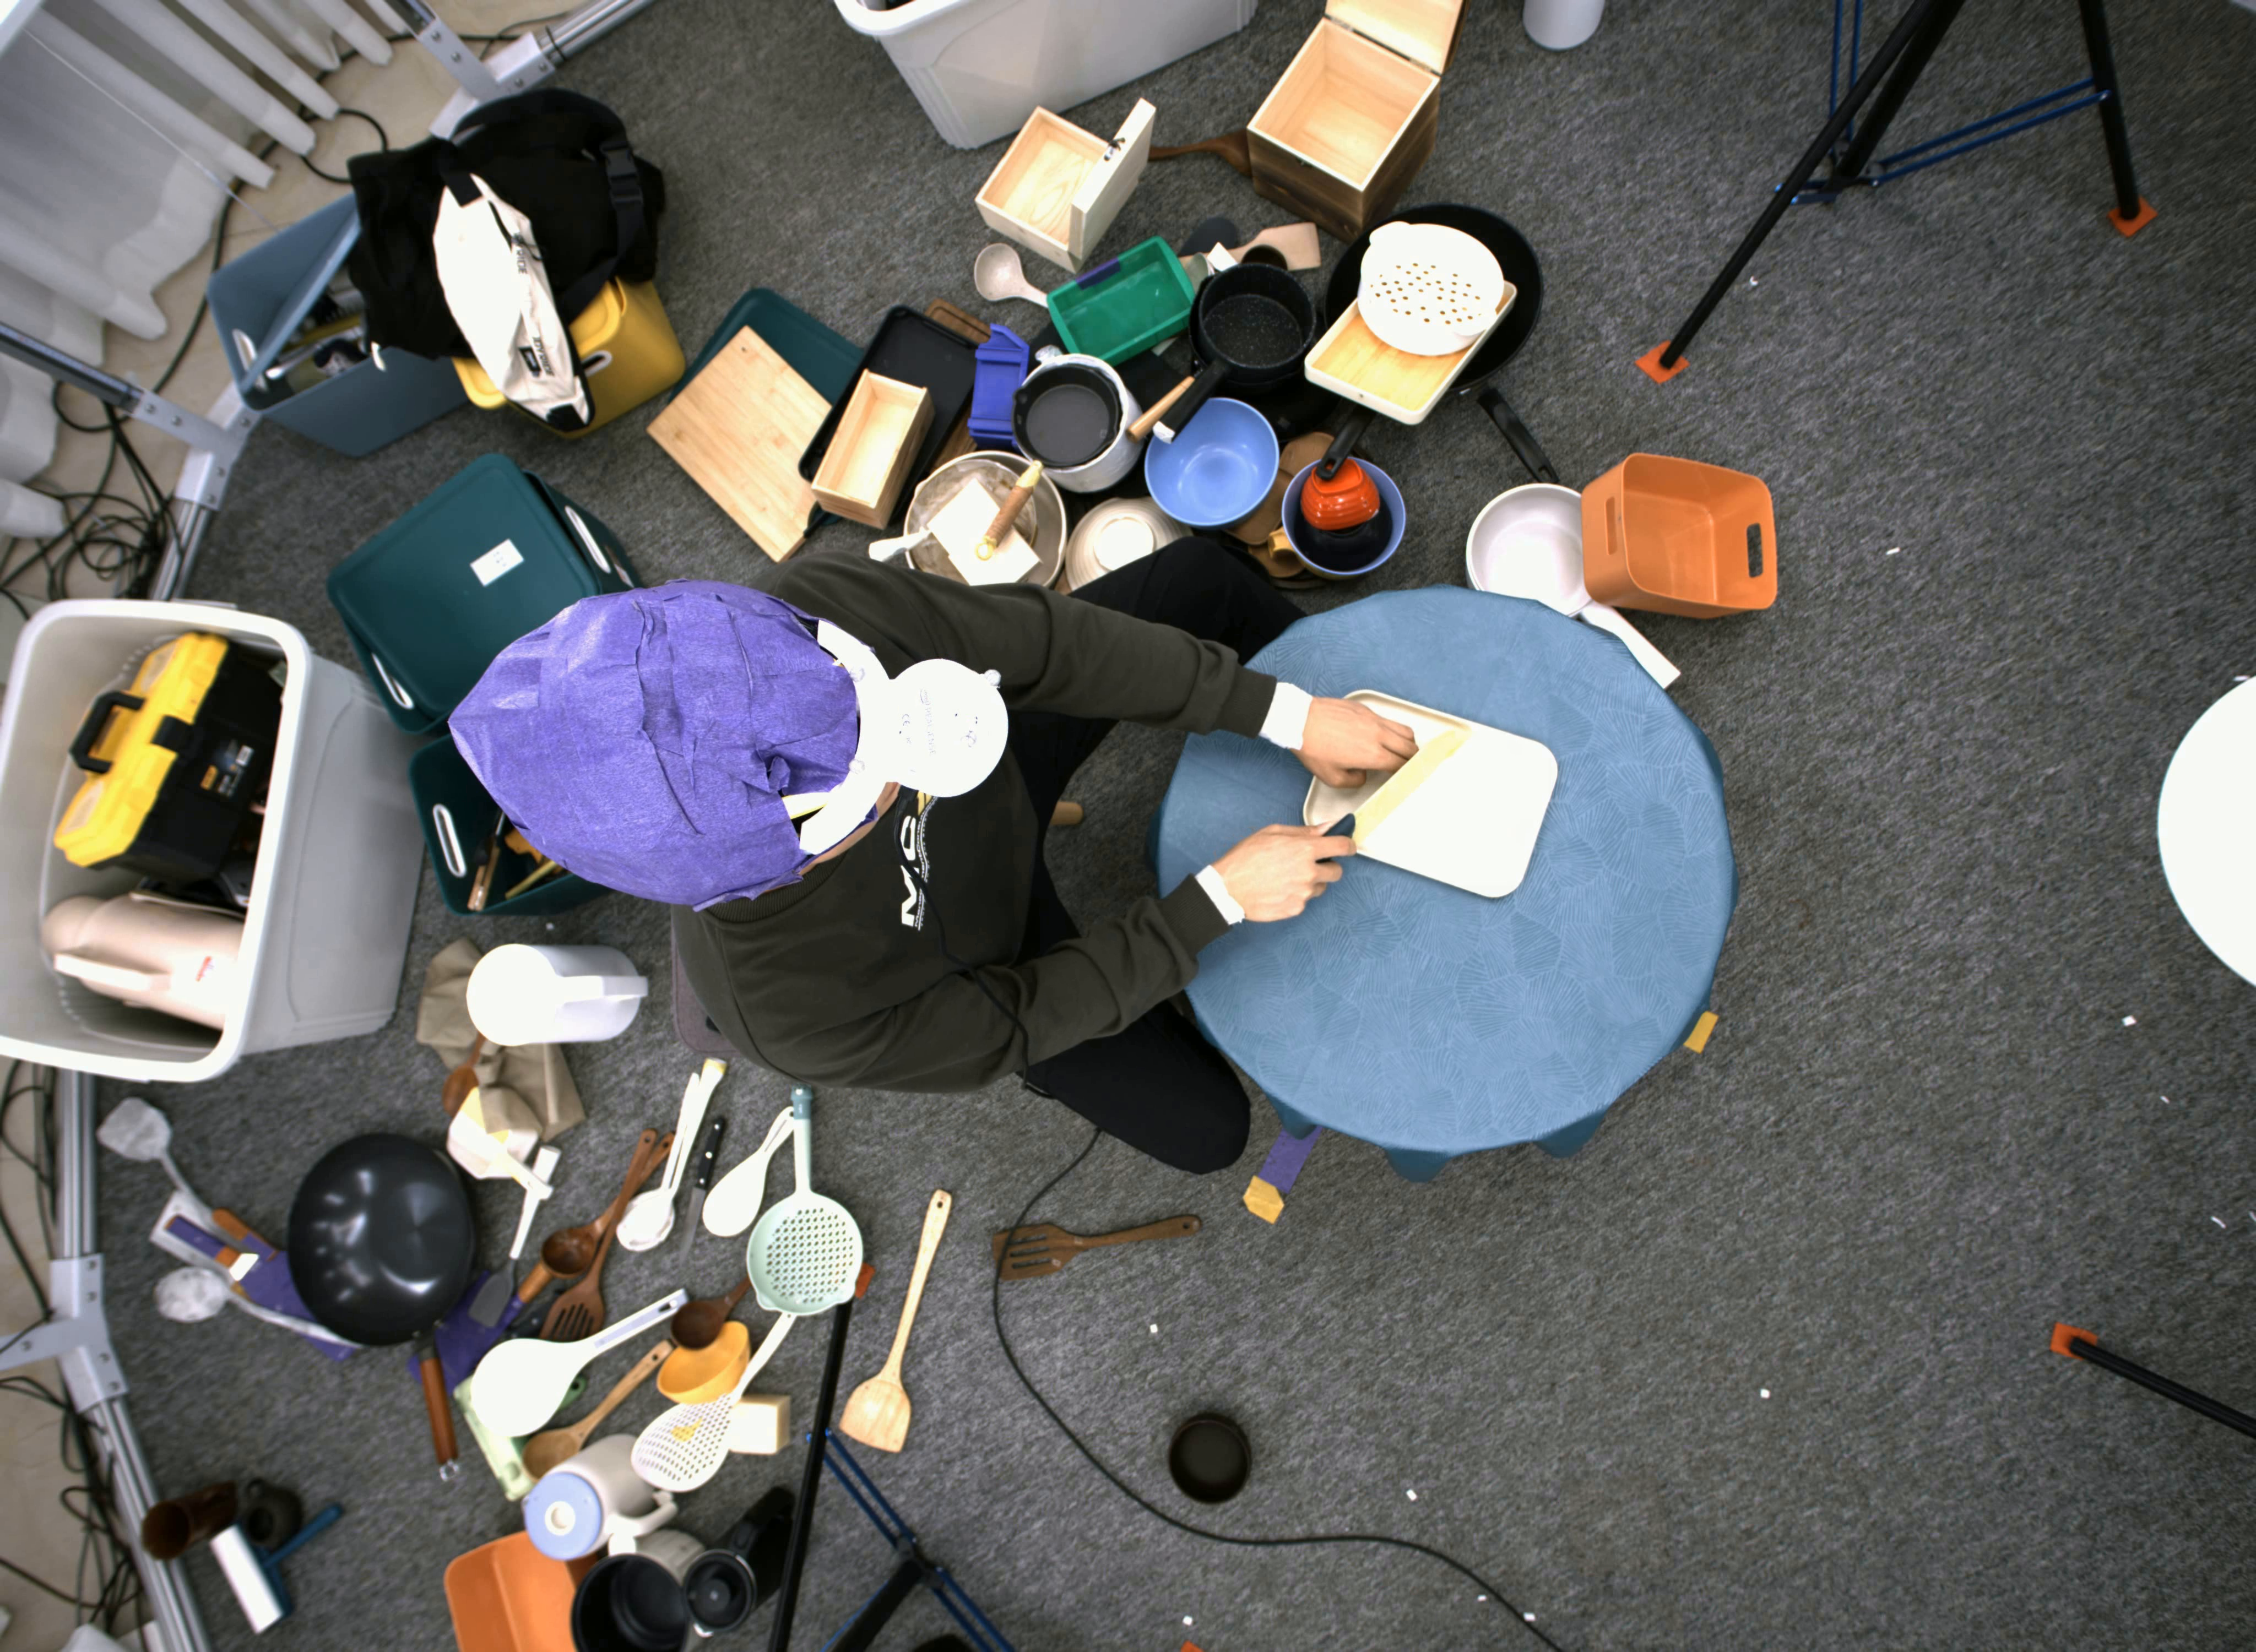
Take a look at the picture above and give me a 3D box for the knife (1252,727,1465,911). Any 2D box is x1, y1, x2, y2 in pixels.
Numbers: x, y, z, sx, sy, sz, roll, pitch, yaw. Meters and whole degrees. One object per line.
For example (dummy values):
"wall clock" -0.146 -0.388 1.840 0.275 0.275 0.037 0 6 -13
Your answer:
"knife" 0.242 -0.009 1.421 0.289 0.082 0.027 -40 61 -2

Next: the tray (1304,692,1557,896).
"tray" 0.317 -0.036 1.448 0.240 0.017 0.171 18 91 11
